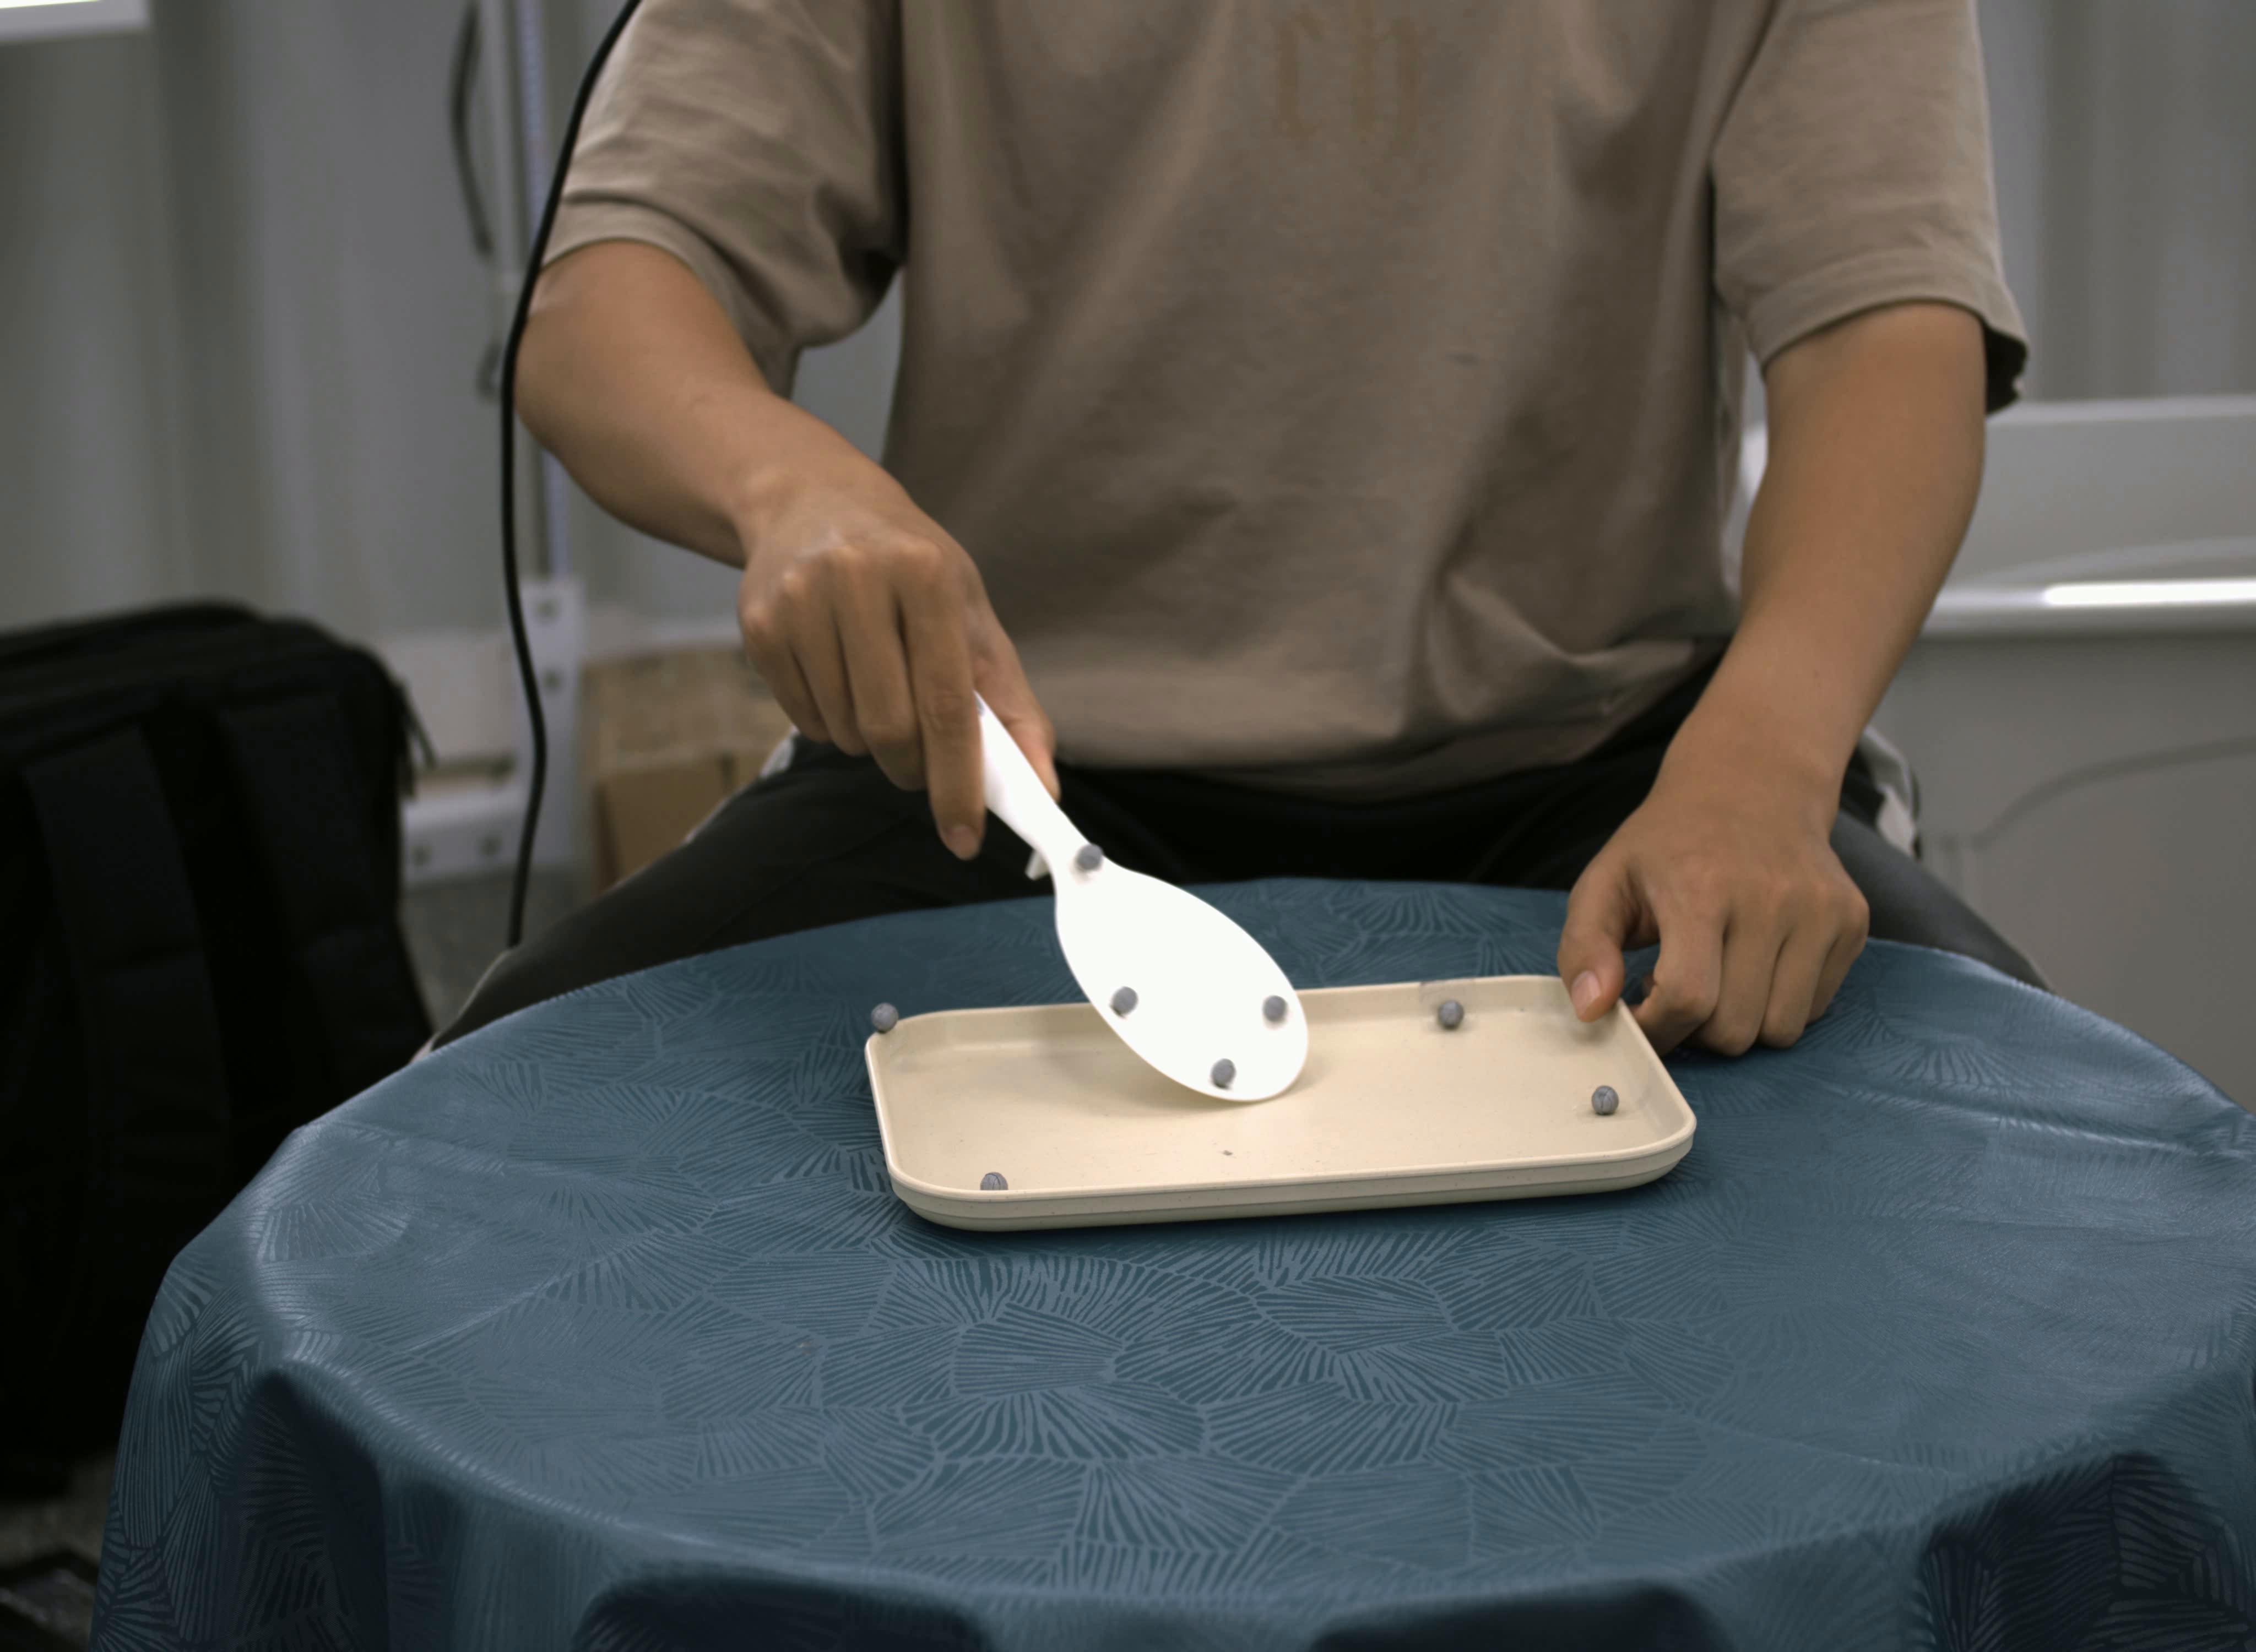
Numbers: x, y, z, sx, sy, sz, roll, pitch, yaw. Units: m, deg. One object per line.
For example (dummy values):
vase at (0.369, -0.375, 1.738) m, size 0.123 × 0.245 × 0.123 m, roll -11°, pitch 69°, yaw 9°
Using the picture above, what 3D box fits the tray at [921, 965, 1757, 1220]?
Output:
tray at (0.060, 0.081, 1.598) m, size 0.238 × 0.017 × 0.172 m, roll -3°, pitch 17°, yaw -4°

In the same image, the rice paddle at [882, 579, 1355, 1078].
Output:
rice paddle at (-0.002, 0.002, 1.659) m, size 0.067 × 0.029 × 0.208 m, roll -22°, pitch 60°, yaw -38°
